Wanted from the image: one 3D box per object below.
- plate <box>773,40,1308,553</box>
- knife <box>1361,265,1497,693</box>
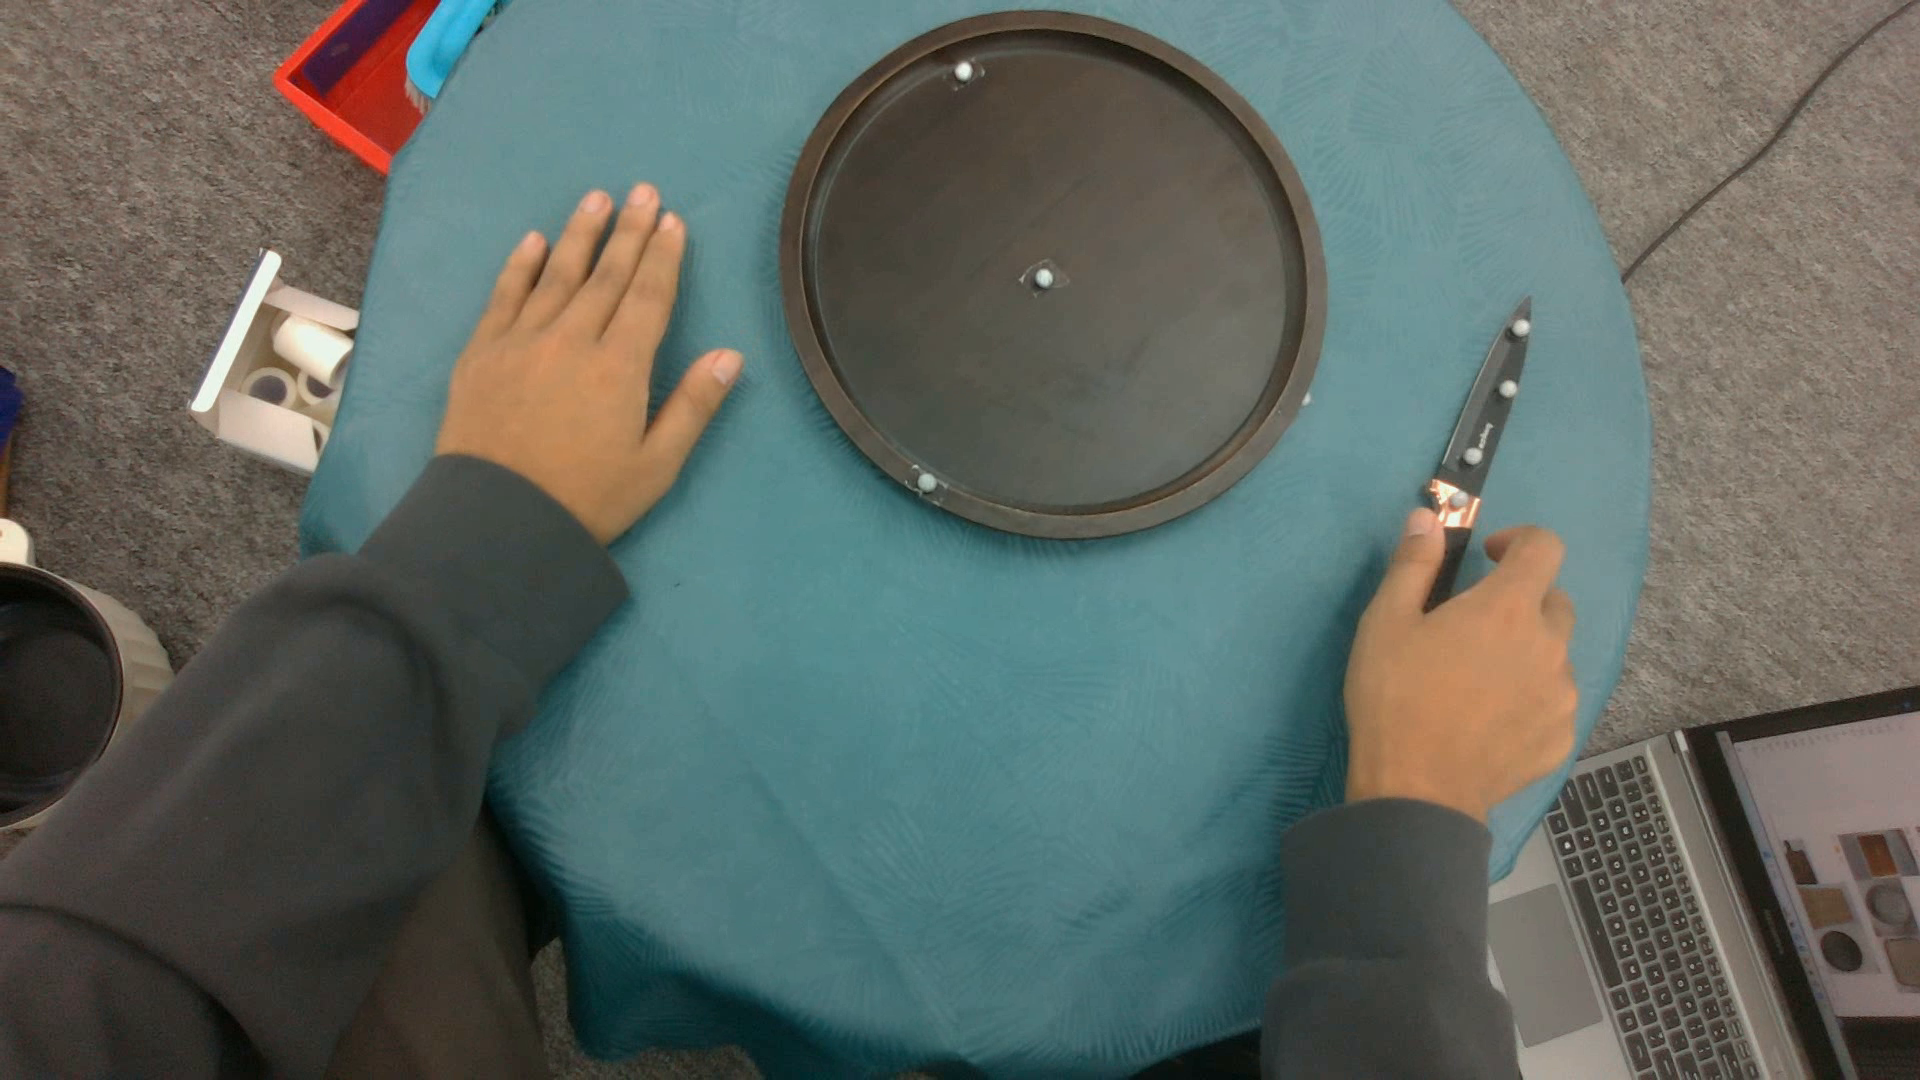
[{"bbox_3d":[0.040,-0.117,0.646,0.255,0.029,0.255,1,78,-7],"label":"plate"},{"bbox_3d":[0.230,-0.034,0.657,0.026,0.017,0.226,22,75,1],"label":"knife"}]
